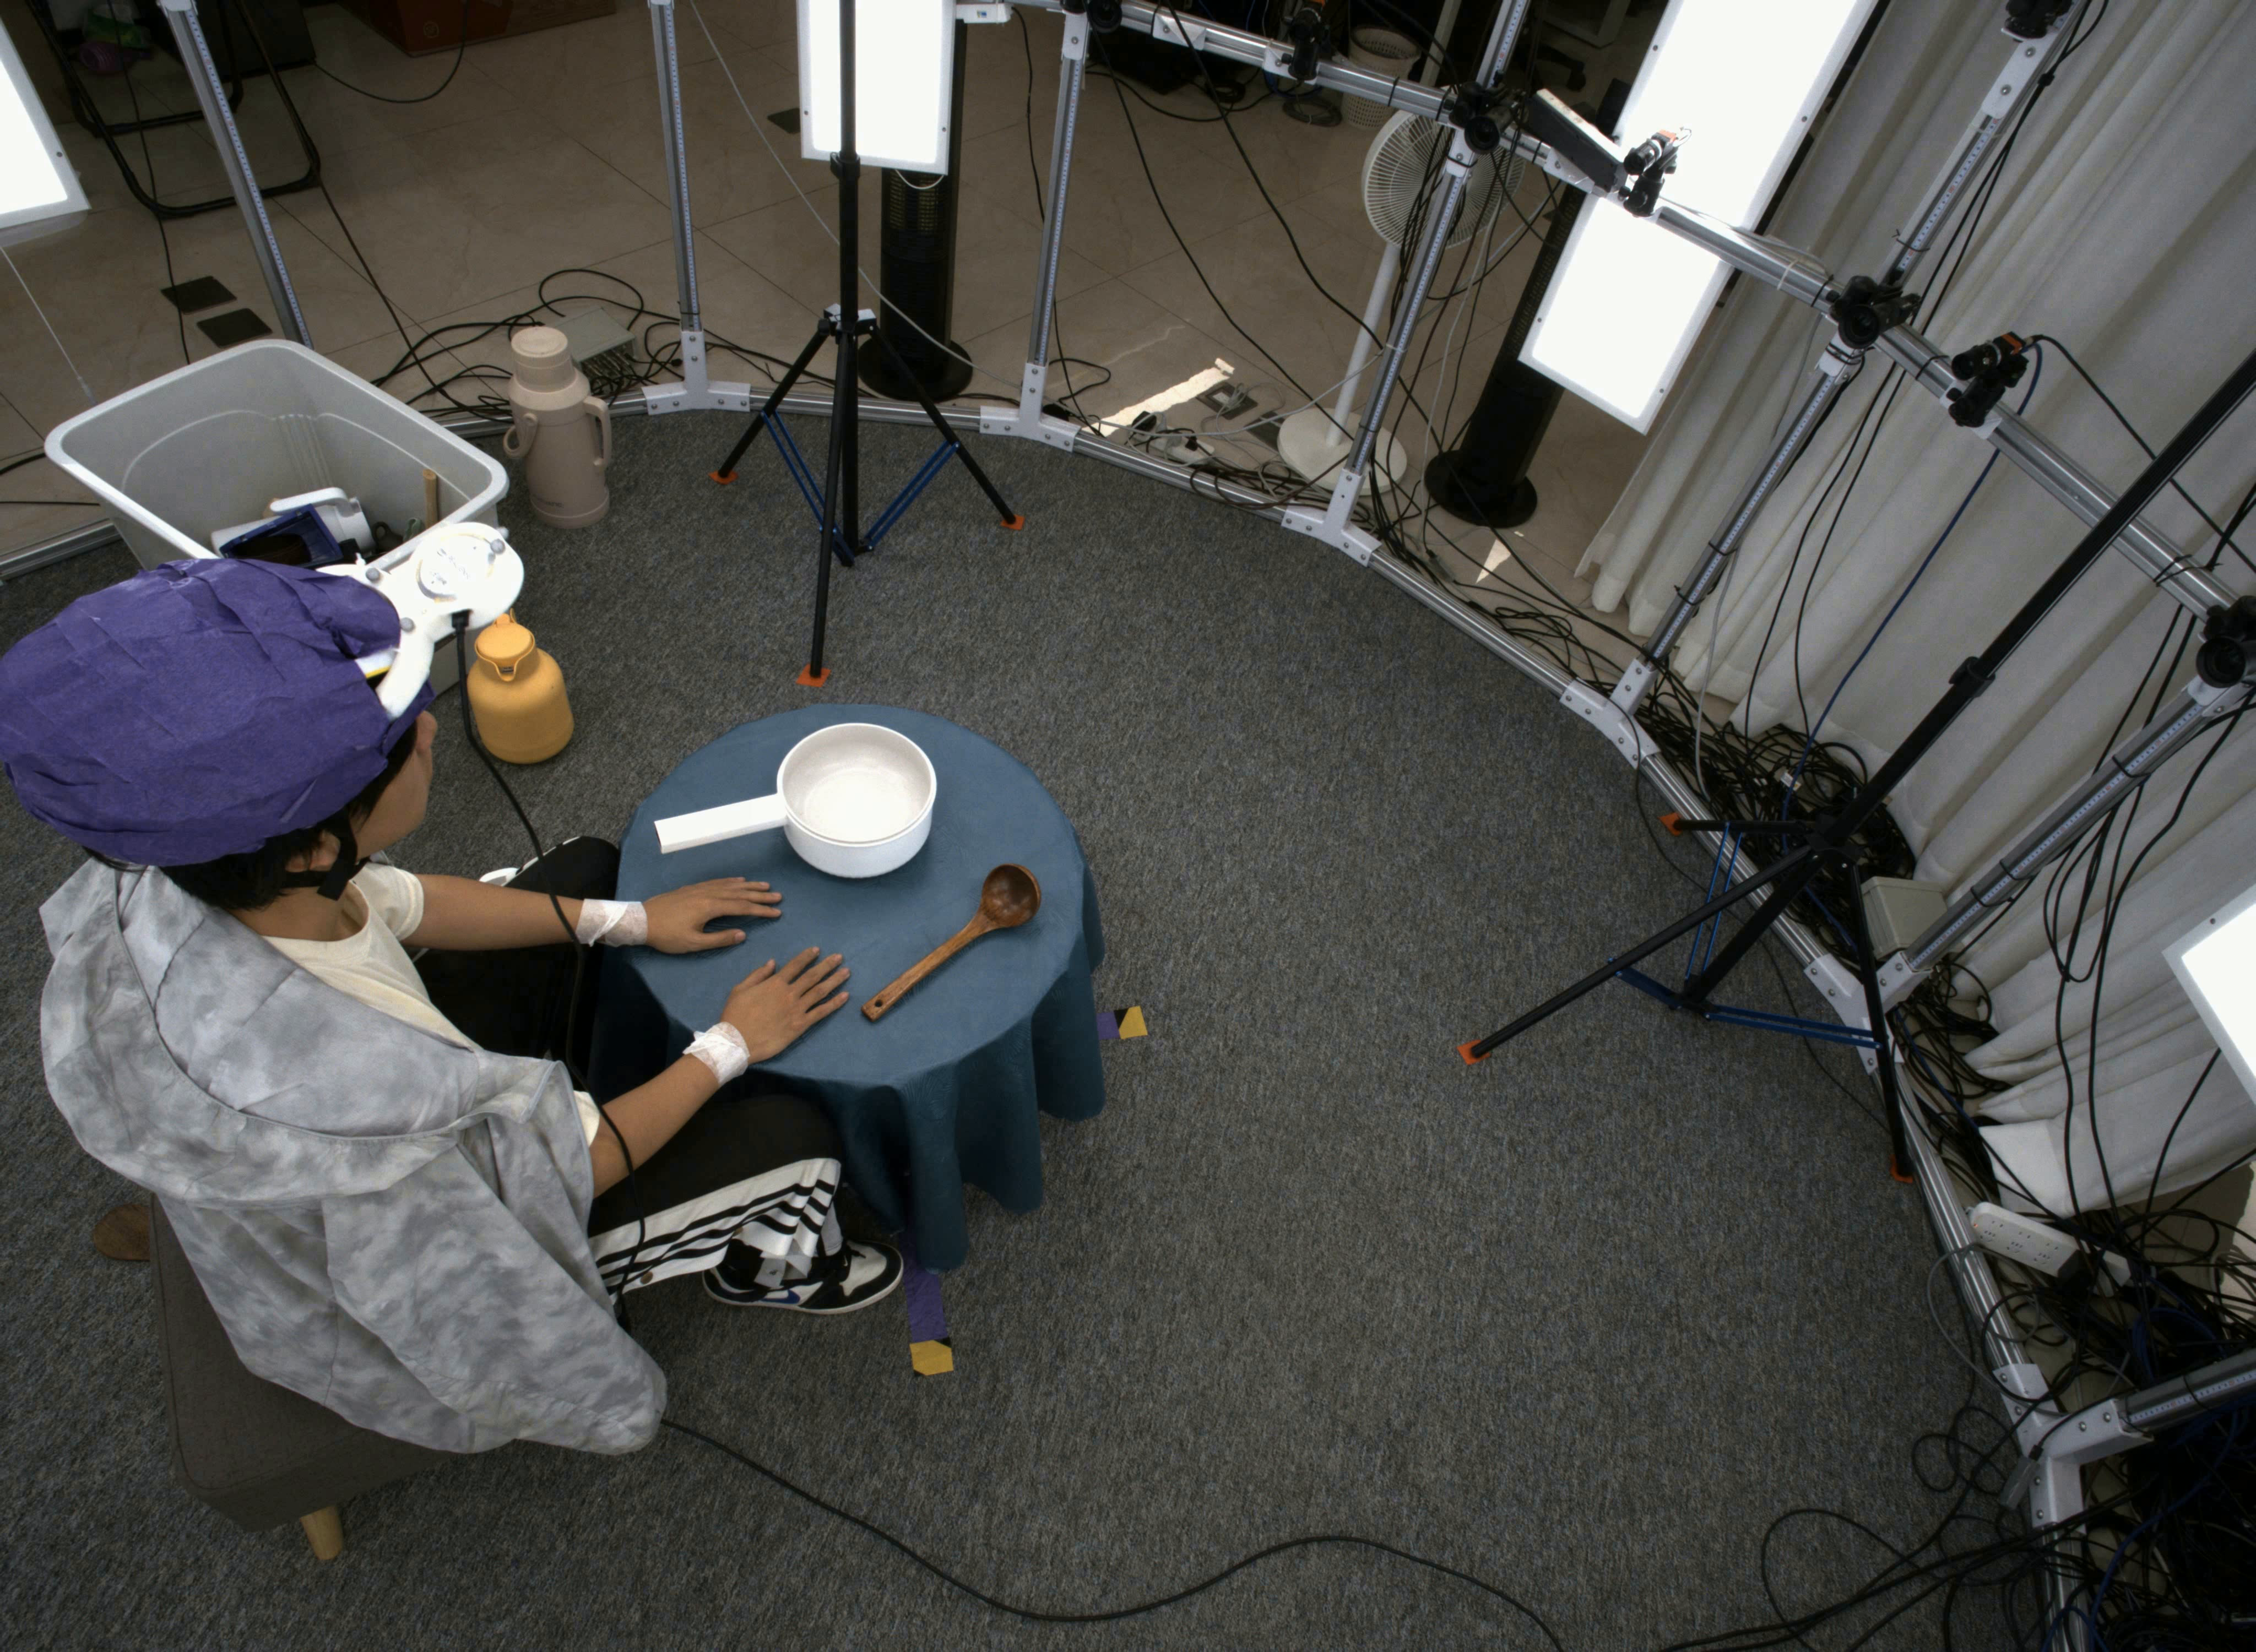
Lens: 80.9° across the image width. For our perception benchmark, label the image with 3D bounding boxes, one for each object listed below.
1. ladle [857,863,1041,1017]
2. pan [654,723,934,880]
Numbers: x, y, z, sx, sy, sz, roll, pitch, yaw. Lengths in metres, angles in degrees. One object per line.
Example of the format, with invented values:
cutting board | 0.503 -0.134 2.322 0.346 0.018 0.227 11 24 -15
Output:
ladle | -0.220 0.140 1.622 0.080 0.078 0.275 43 55 17
pan | -0.424 -0.009 1.671 0.356 0.104 0.196 -16 60 -22
